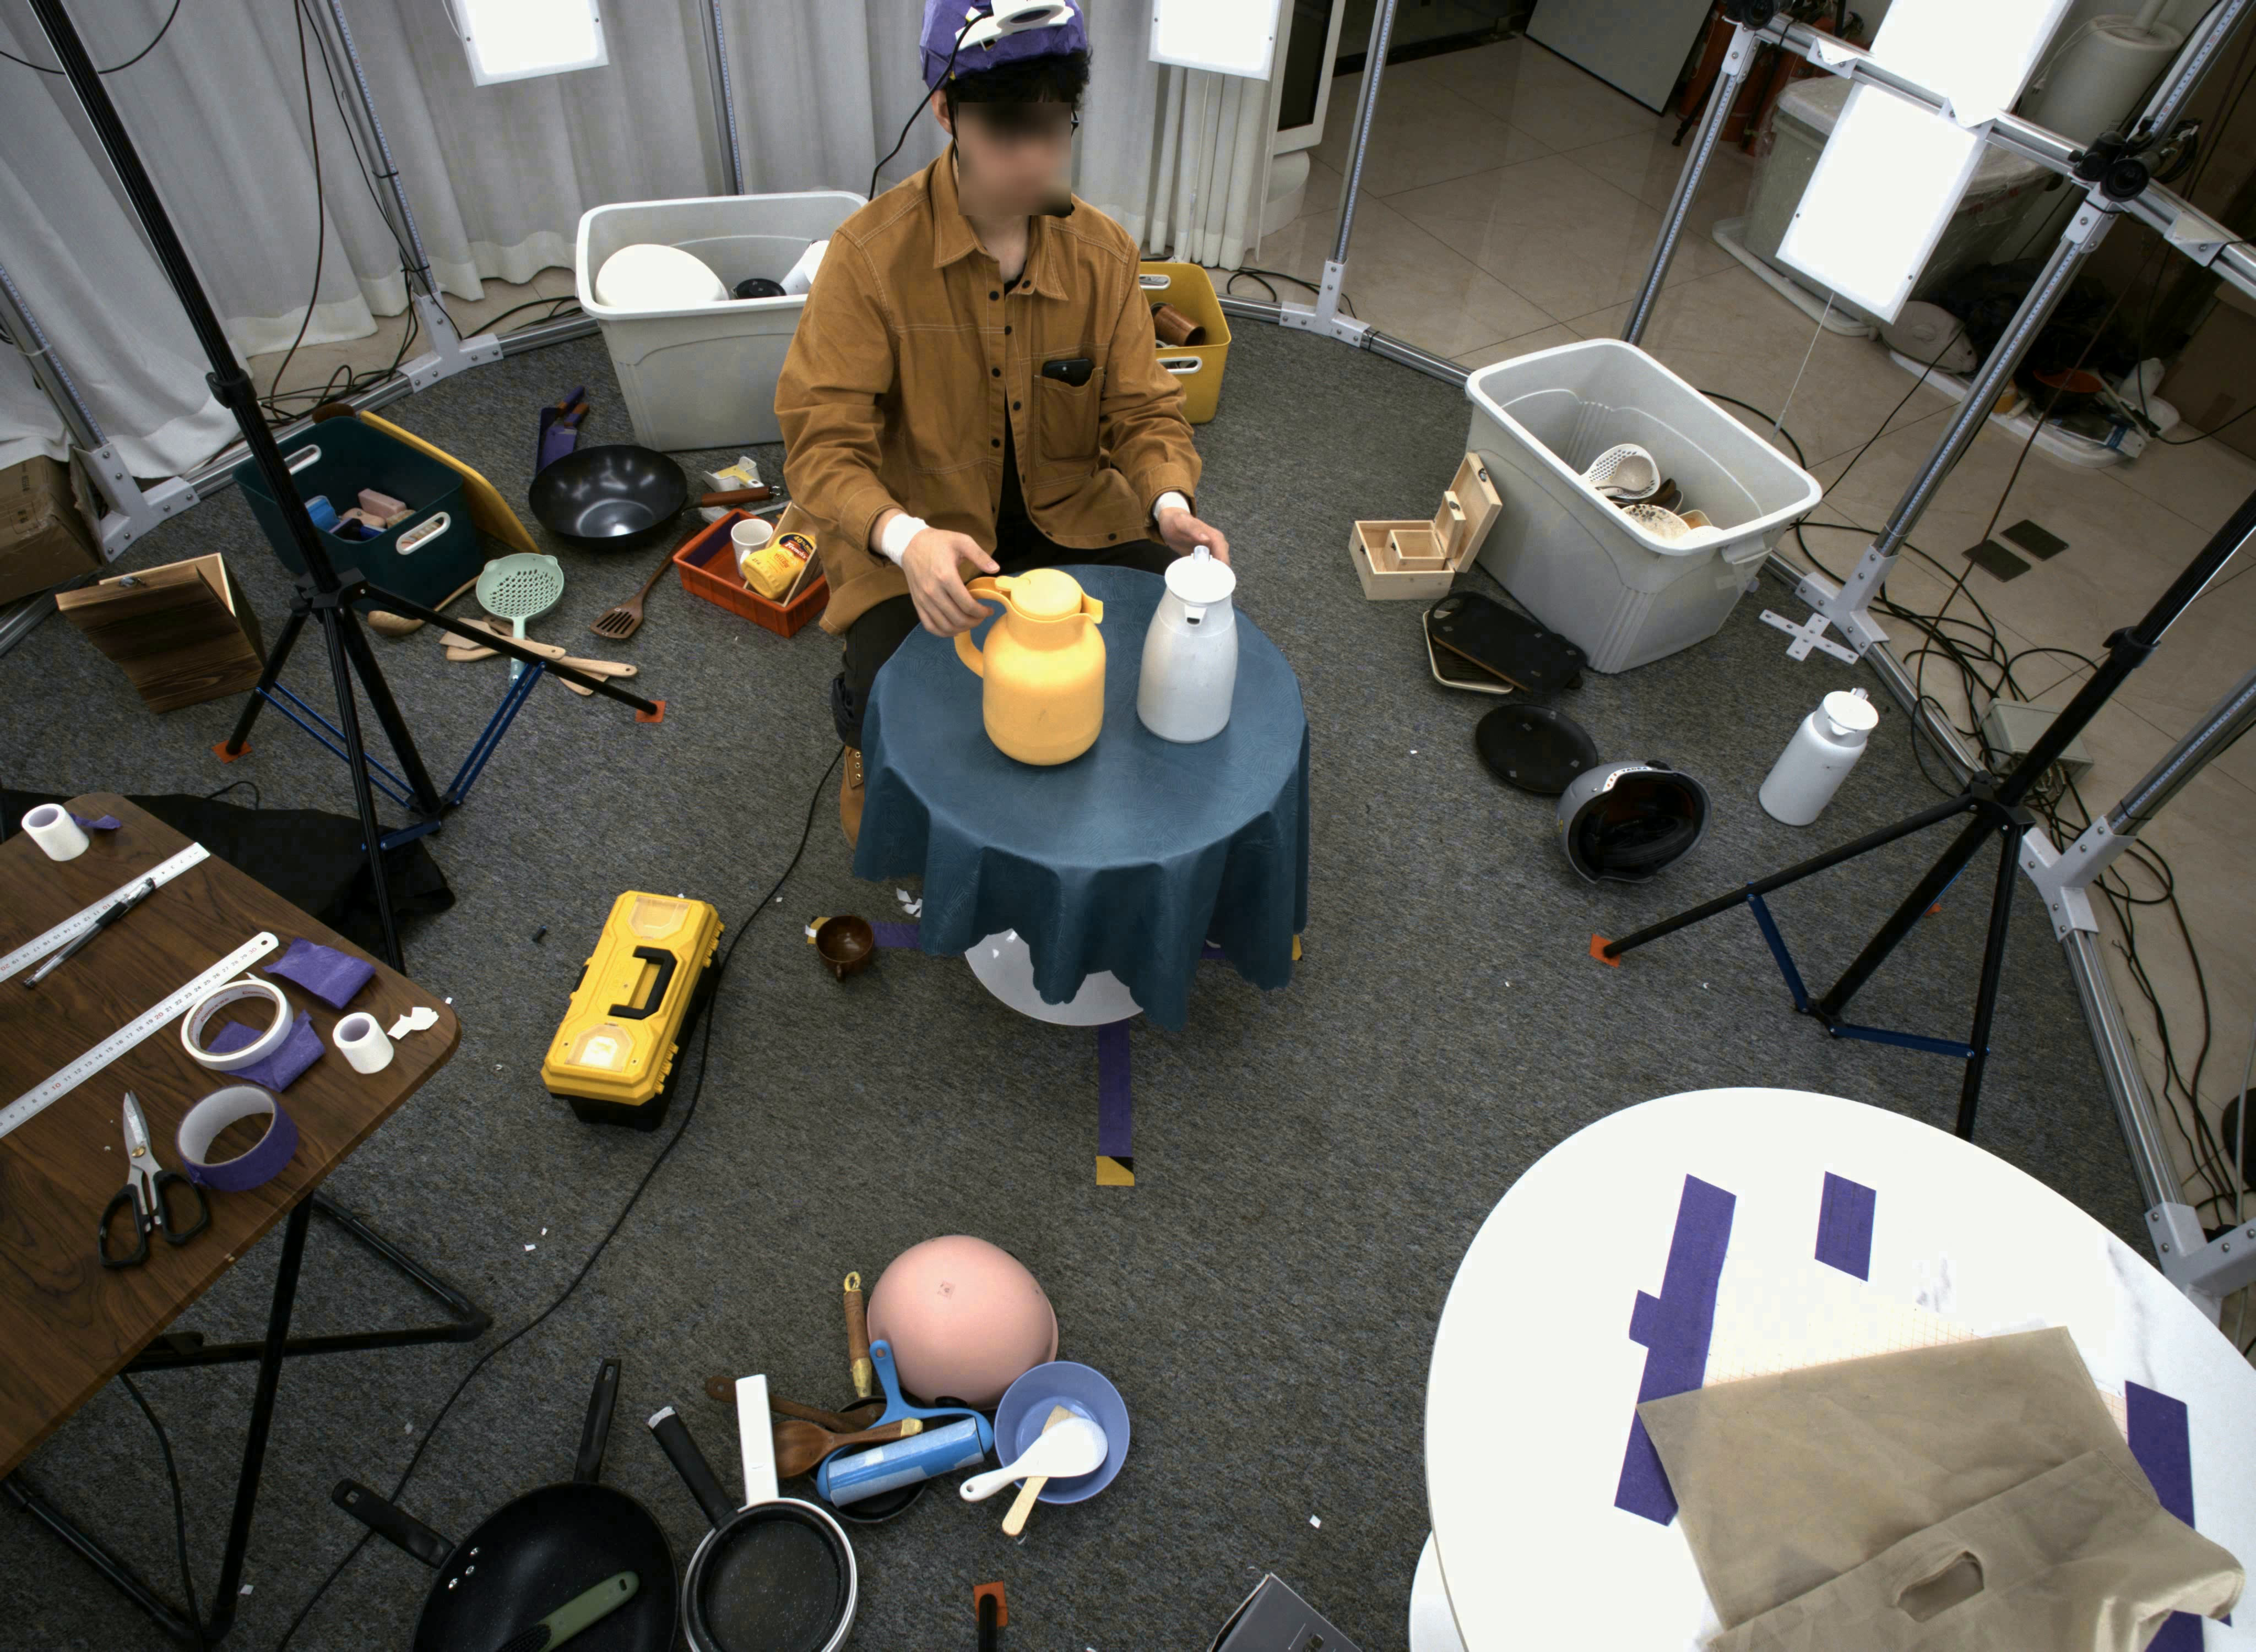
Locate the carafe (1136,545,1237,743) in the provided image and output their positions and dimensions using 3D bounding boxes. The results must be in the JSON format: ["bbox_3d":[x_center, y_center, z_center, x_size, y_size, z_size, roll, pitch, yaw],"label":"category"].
[{"bbox_3d":[0.086,-0.258,1.738,0.132,0.242,0.172,8,49,3],"label":"carafe"}]

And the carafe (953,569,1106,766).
[{"bbox_3d":[-0.128,-0.218,1.684,0.203,0.254,0.167,17,48,9],"label":"carafe"}]
